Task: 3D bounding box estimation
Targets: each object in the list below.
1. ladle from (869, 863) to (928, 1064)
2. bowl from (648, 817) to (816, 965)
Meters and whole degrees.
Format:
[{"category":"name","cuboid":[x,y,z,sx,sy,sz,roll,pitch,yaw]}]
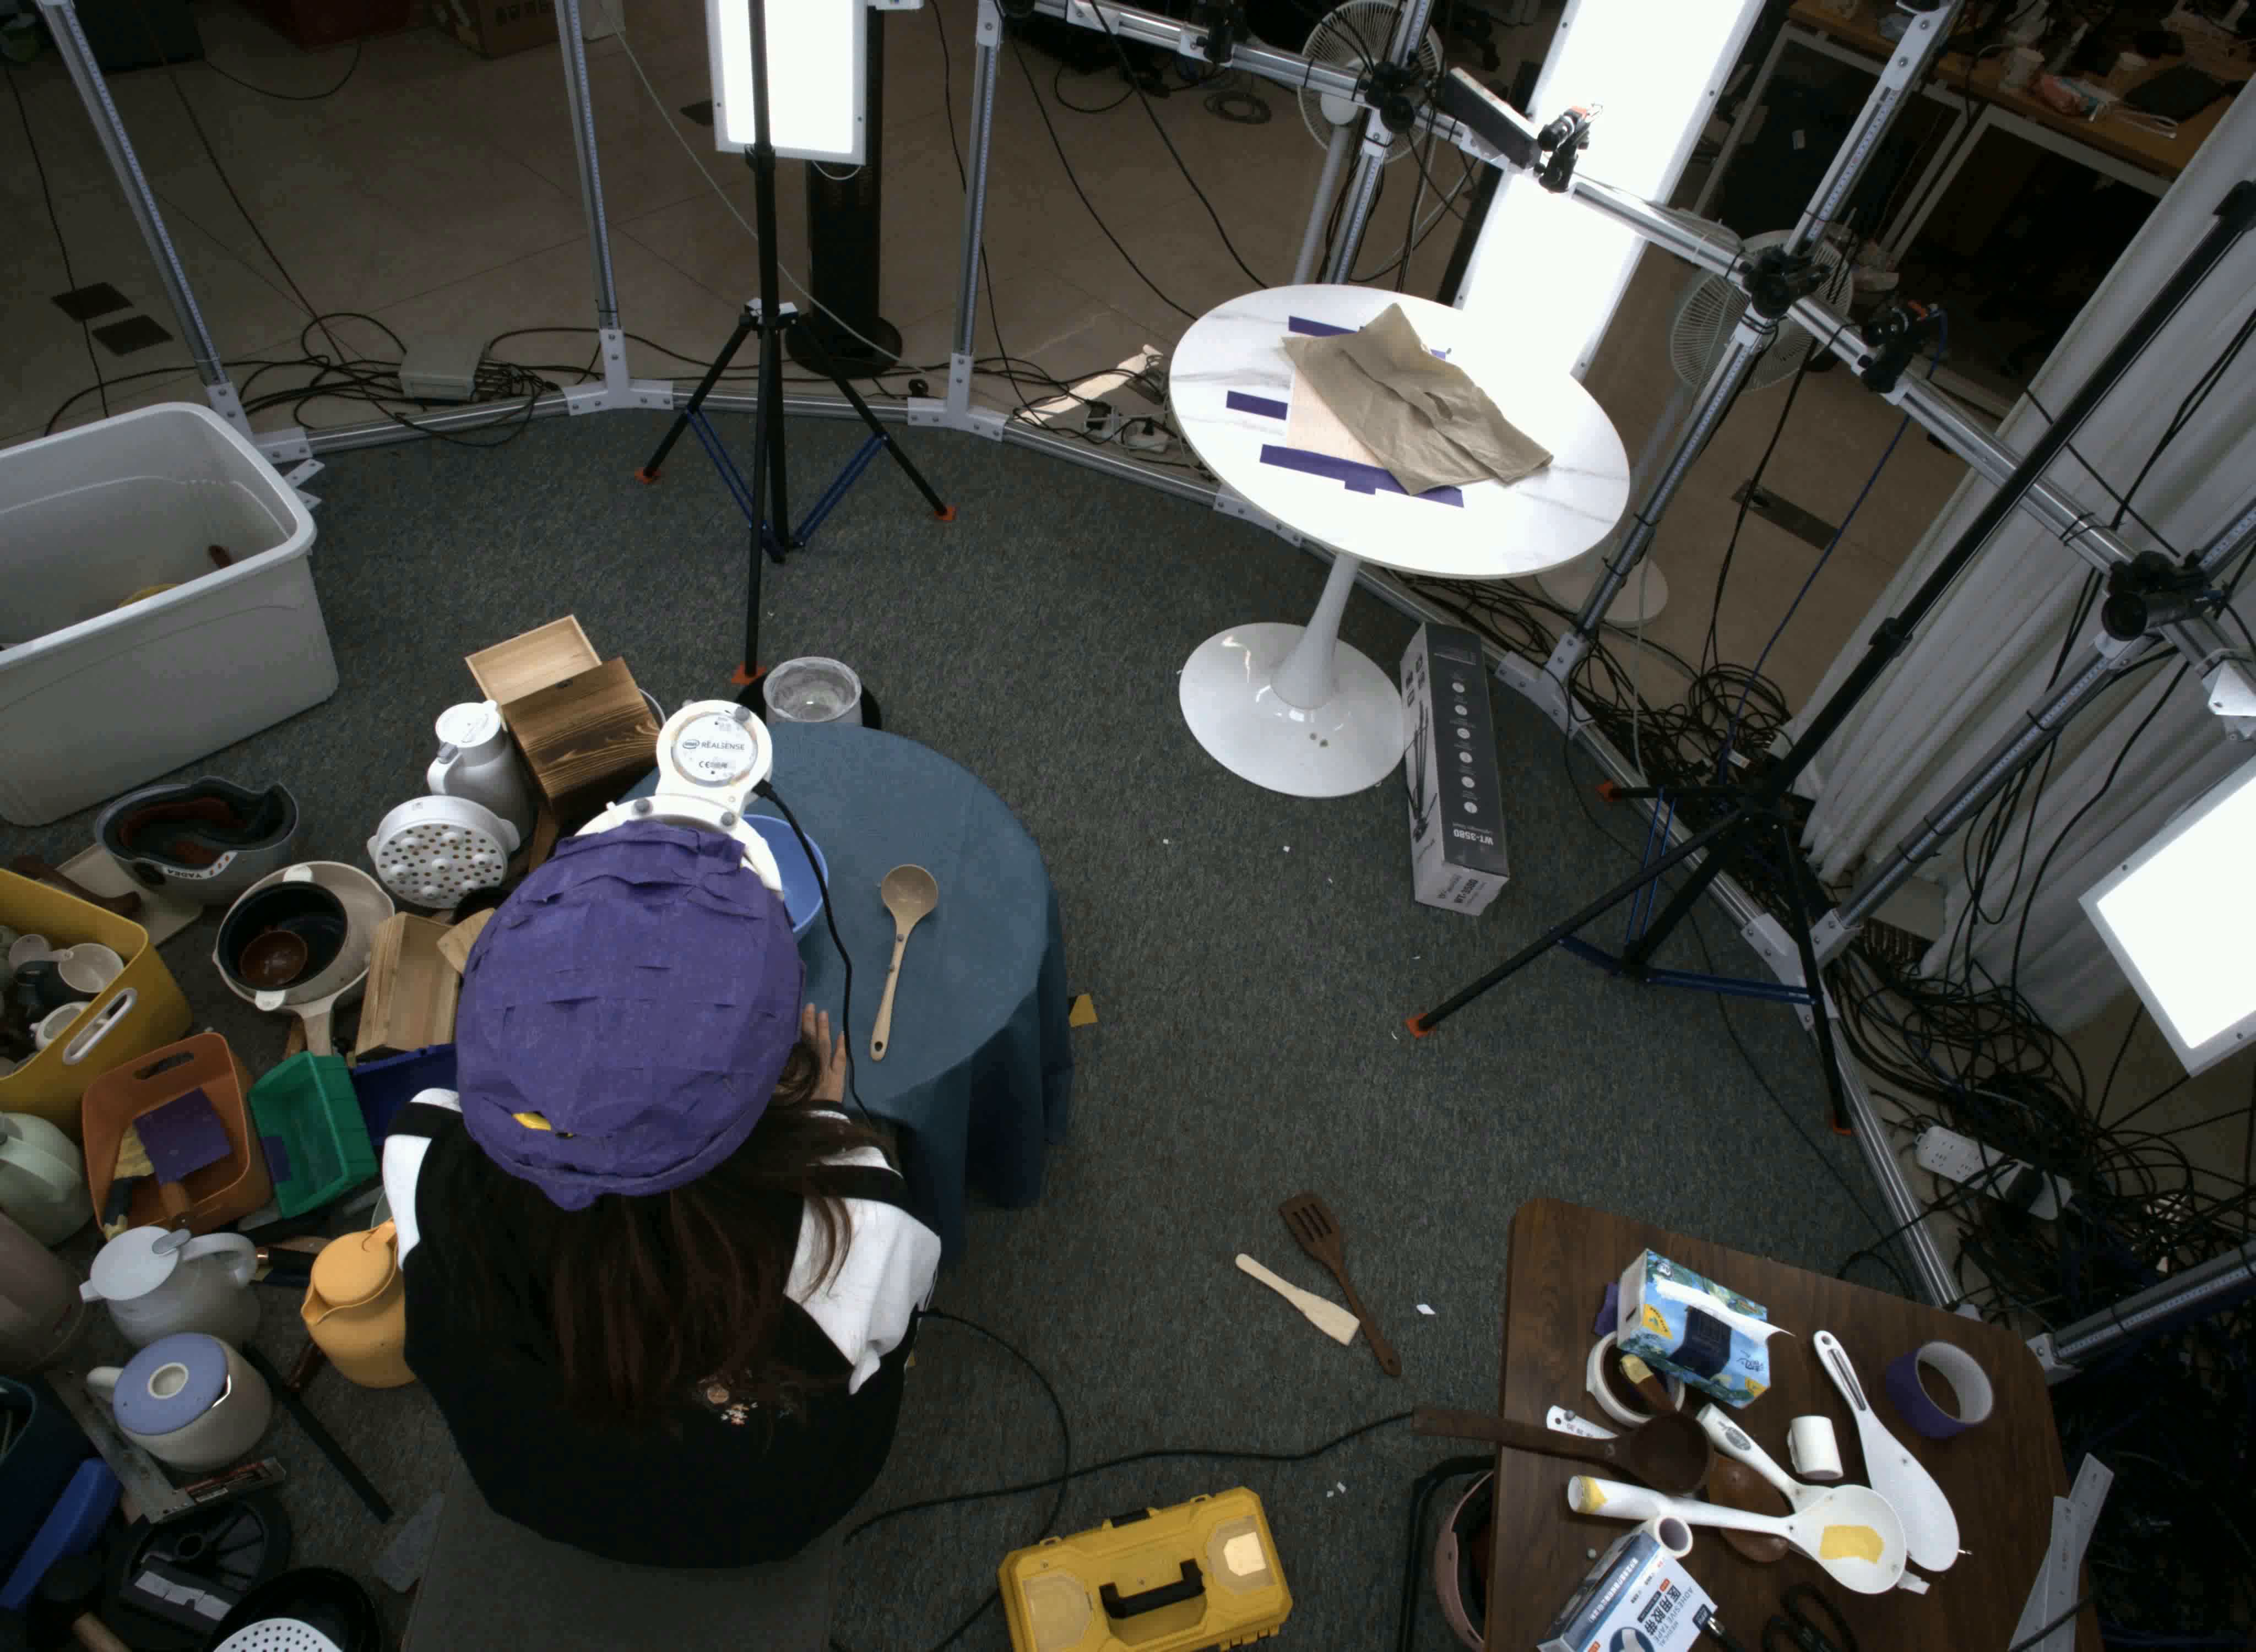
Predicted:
[{"category":"ladle","cuboid":[-0.292,0.158,1.588,0.072,0.074,0.250,7,52,-7]},{"category":"bowl","cuboid":[-0.477,0.092,1.573,0.196,0.097,0.193,8,50,-7]}]
